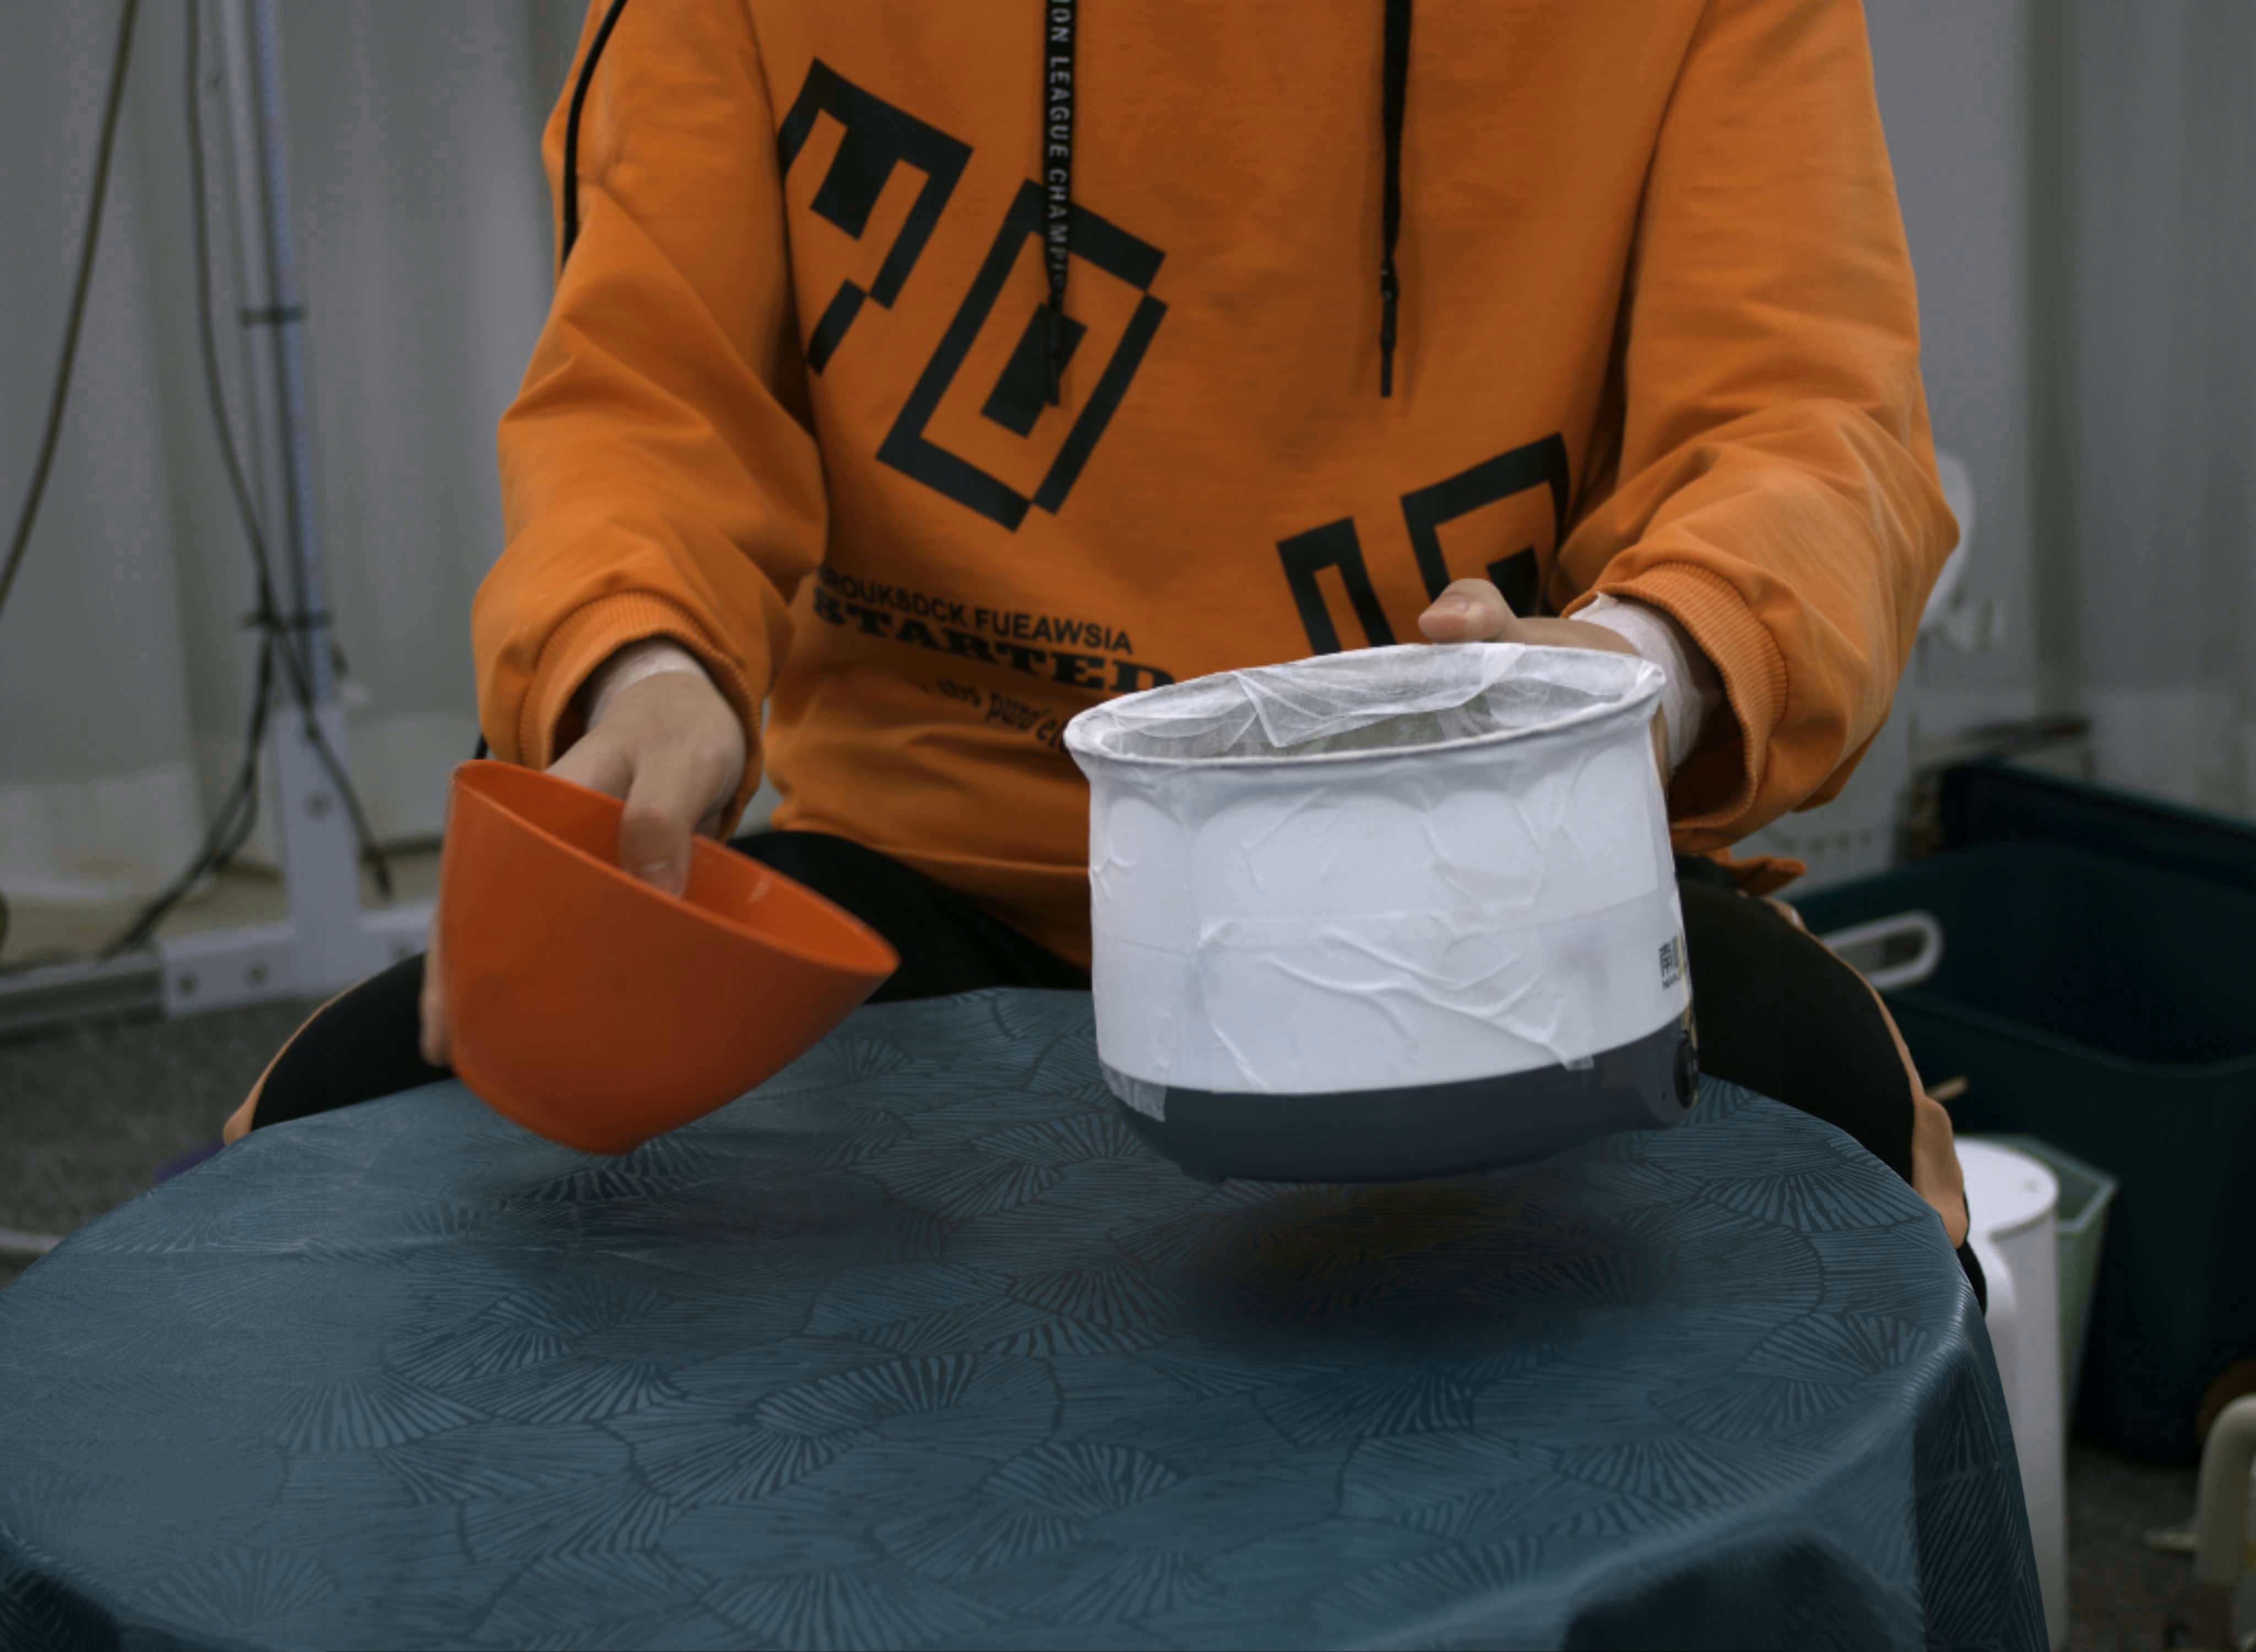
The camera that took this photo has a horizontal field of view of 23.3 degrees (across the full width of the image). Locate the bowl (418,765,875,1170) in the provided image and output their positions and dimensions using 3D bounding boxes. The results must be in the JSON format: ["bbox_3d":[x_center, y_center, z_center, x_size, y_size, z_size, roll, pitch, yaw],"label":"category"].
[{"bbox_3d":[-0.163,0.050,1.688,0.147,0.104,0.149,29,13,-7],"label":"bowl"}]

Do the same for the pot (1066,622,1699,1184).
[{"bbox_3d":[0.084,0.019,1.635,0.178,0.136,0.234,-2,11,19],"label":"pot"}]
